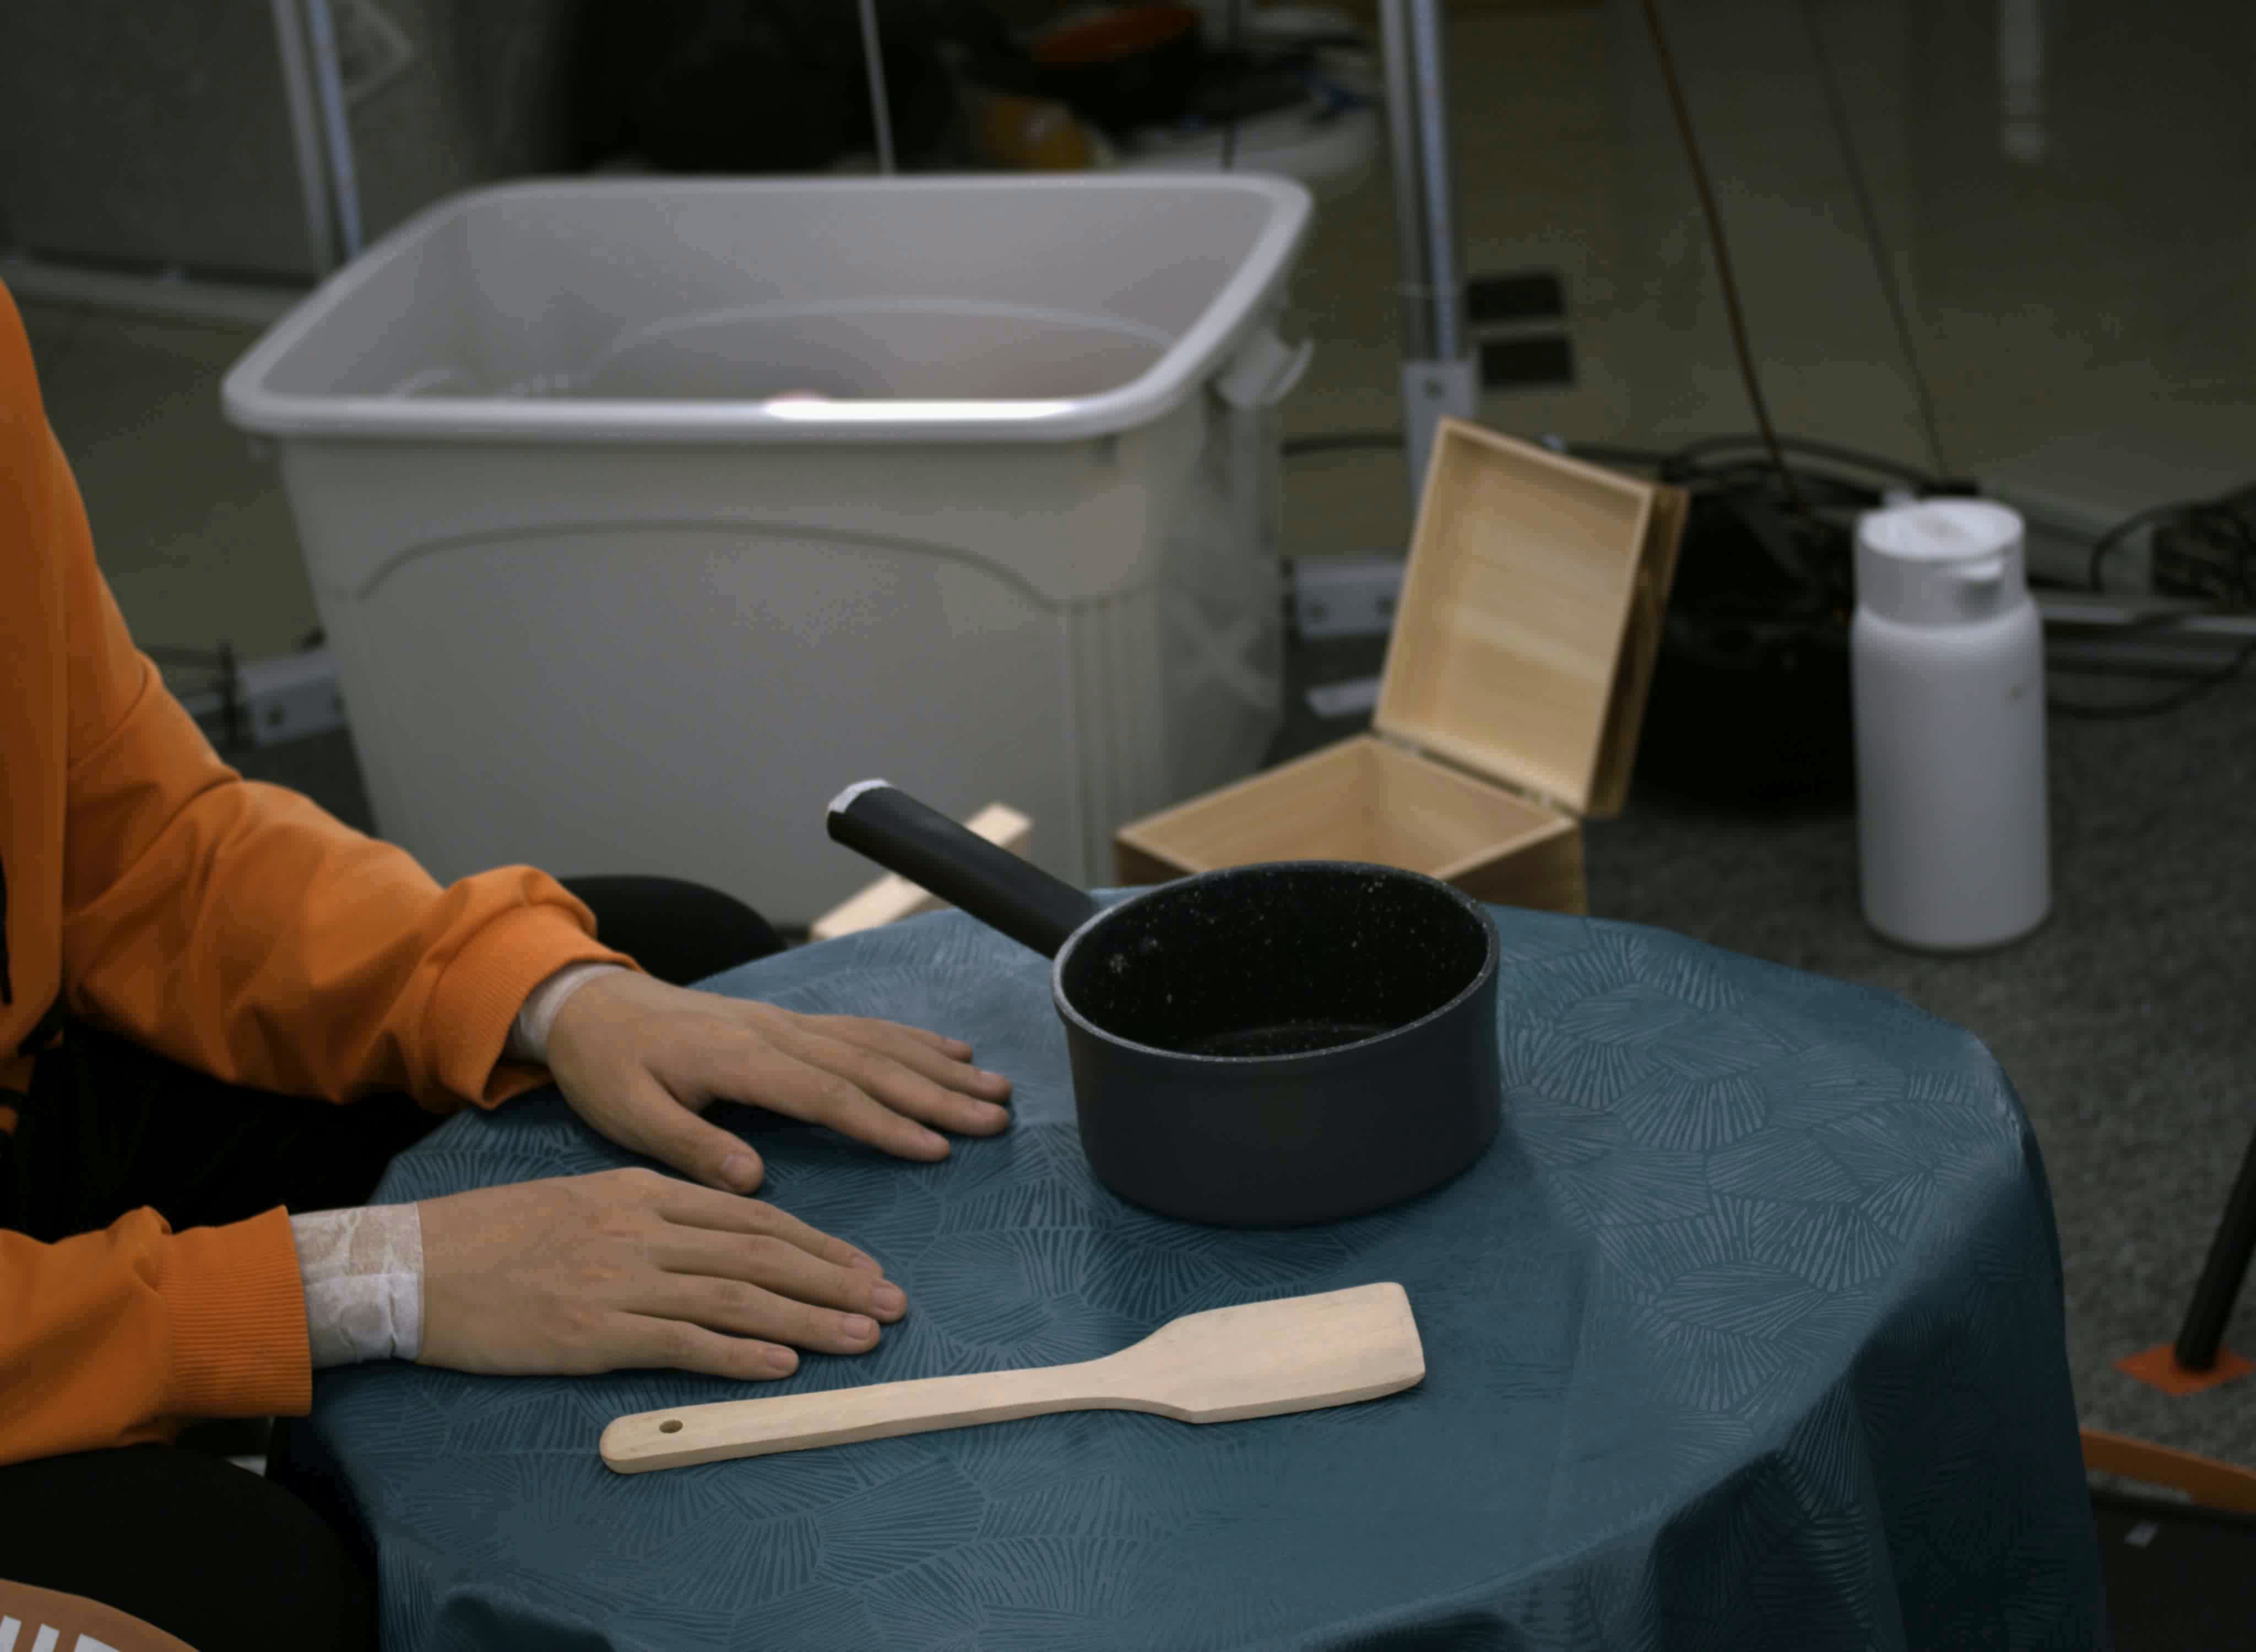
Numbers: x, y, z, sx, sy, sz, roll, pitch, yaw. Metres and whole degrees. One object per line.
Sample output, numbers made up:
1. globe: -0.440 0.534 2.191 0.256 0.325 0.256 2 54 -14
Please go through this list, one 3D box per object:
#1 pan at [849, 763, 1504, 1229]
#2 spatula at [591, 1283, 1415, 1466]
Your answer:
1. pan: 0.006 0.060 2.214 0.170 0.088 0.326 -25 32 -35
2. spatula: -0.045 0.201 2.014 0.292 0.011 0.071 -7 28 -2
